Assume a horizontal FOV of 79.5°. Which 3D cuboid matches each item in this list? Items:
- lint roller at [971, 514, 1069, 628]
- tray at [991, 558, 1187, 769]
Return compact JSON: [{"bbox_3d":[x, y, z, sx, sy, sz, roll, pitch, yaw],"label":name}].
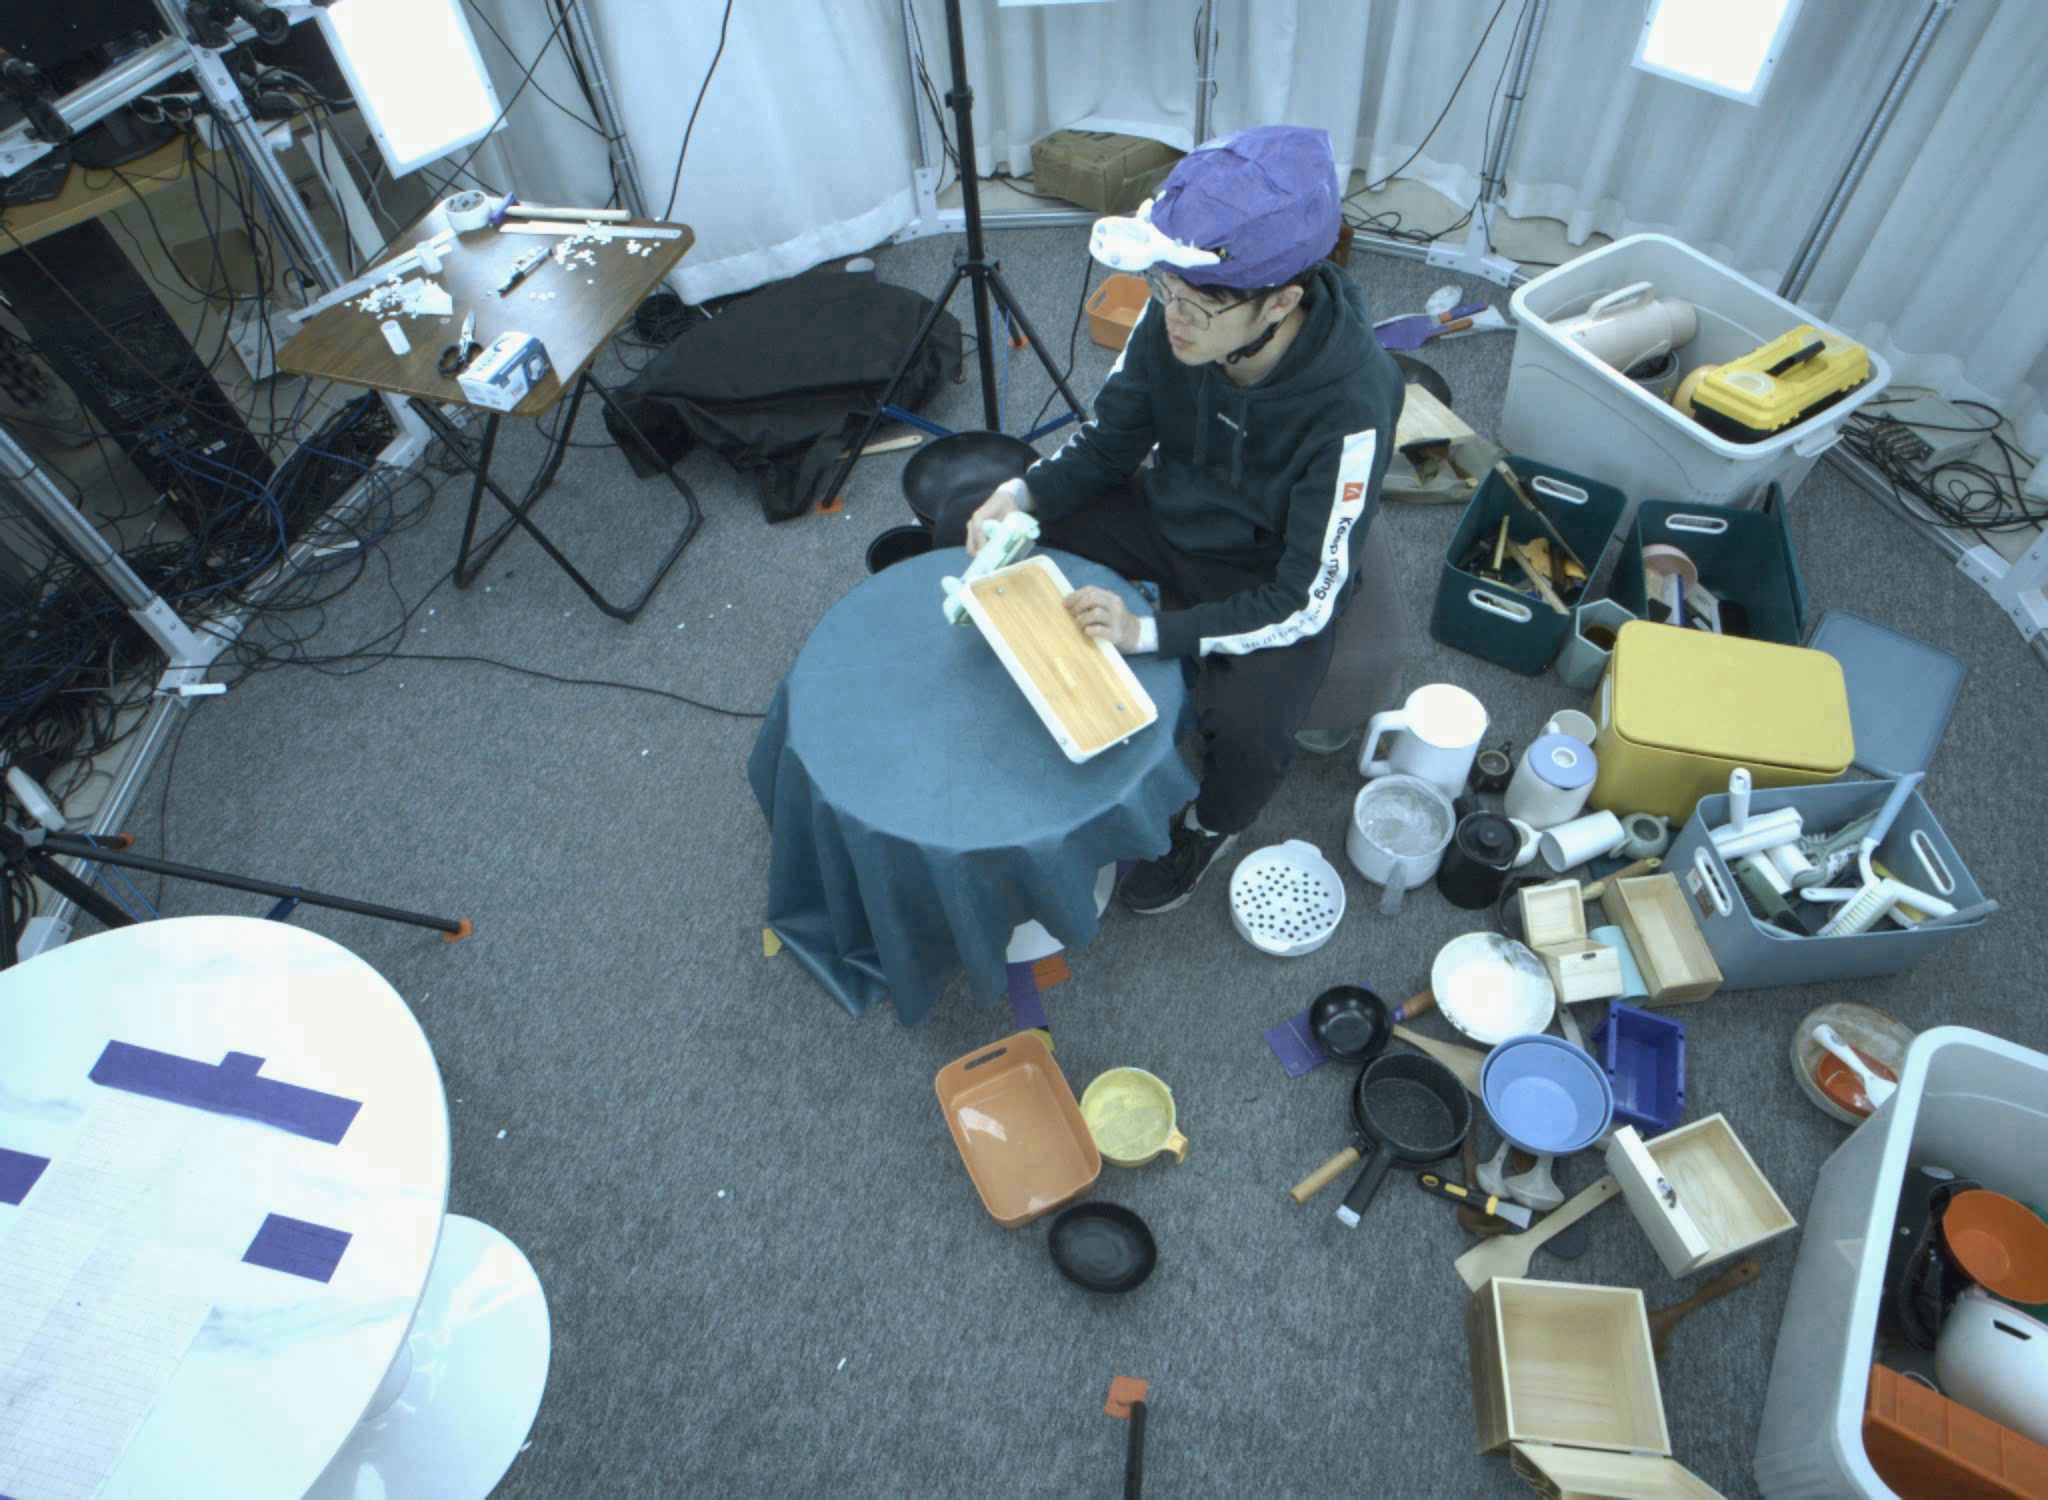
[{"bbox_3d":[-0.011,-0.298,1.831,0.083,0.197,0.181,27,37,-20],"label":"lint roller"},{"bbox_3d":[0.094,-0.127,1.740,0.194,0.027,0.299,-27,83,-45],"label":"tray"}]
